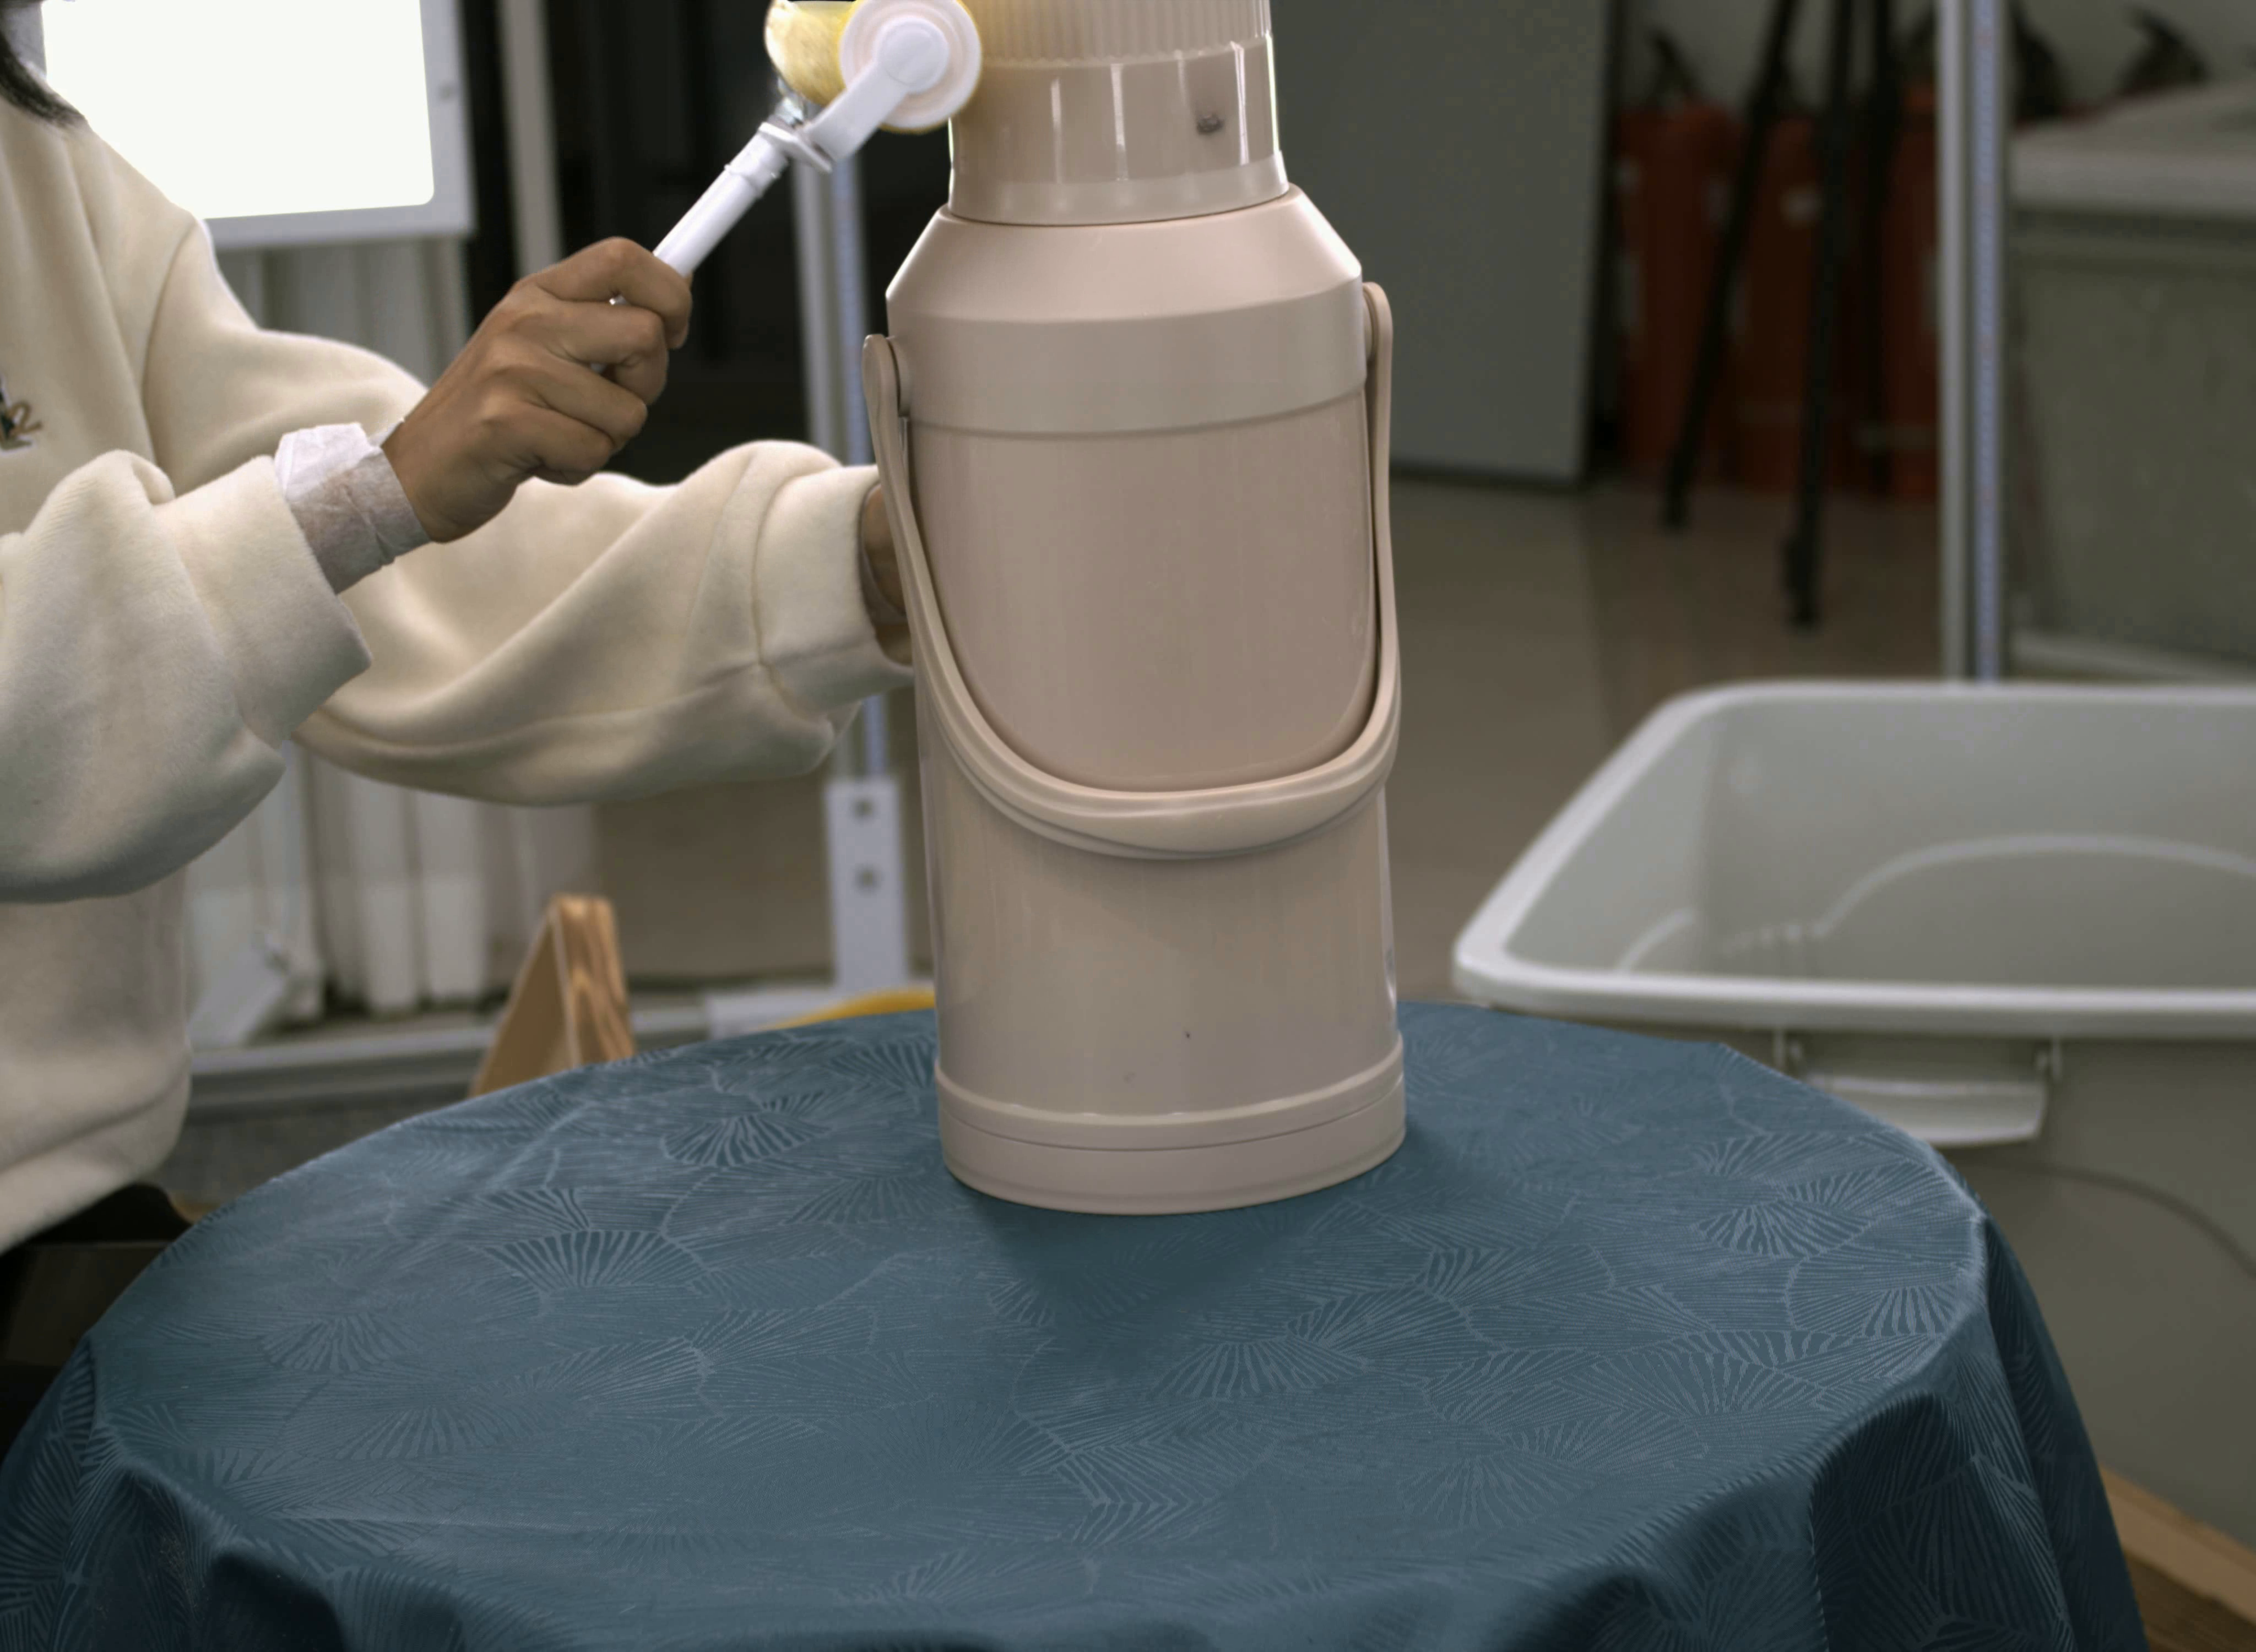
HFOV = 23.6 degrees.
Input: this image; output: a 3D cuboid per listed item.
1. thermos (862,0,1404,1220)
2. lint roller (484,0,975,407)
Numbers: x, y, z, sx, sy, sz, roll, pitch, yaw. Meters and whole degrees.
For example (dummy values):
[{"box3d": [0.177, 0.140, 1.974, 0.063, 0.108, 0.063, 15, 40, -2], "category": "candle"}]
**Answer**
[{"box3d": [0.001, -0.089, 1.786, 0.172, 0.411, 0.208, -8, 14, -14], "category": "thermos"}, {"box3d": [-0.138, -0.210, 1.713, 0.191, 0.051, 0.175, -38, 13, -3], "category": "lint roller"}]
